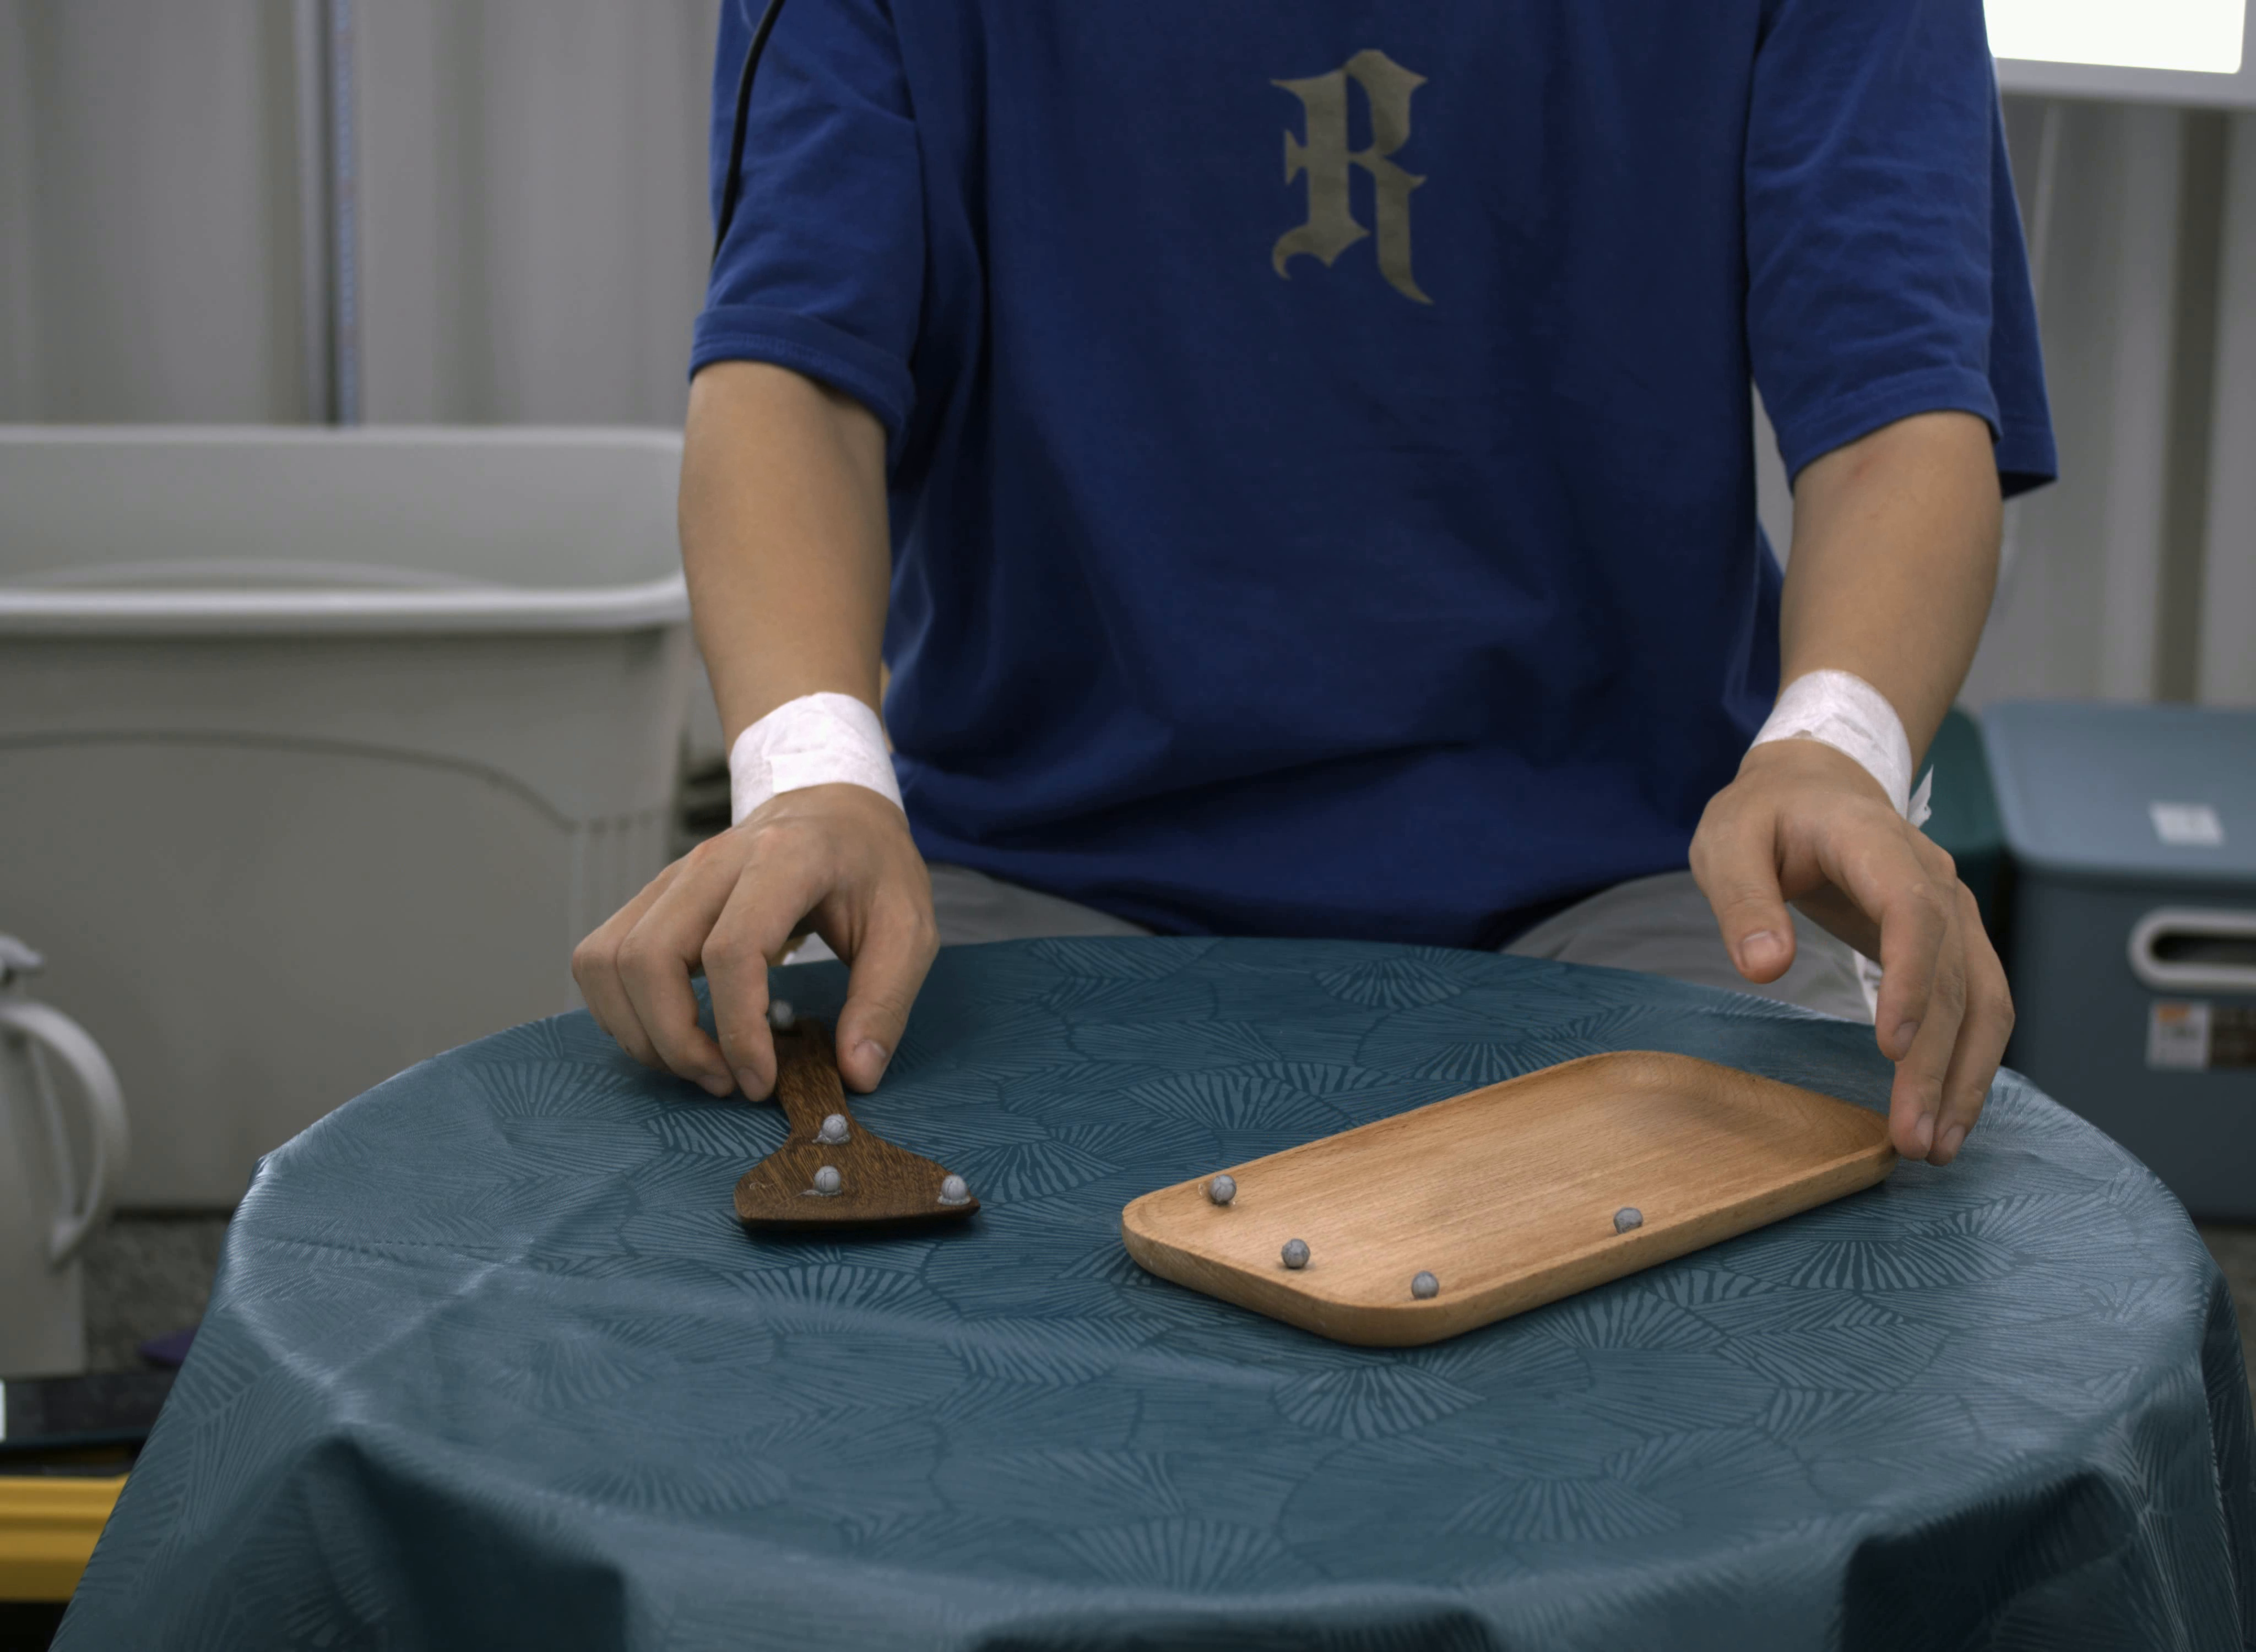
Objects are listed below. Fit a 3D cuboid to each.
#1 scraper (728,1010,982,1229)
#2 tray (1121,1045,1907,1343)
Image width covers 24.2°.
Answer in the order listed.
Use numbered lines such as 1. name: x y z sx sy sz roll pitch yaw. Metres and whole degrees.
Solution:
1. scraper: -0.098 0.092 1.669 0.076 0.011 0.209 -1 16 -11
2. tray: 0.120 0.110 1.603 0.252 0.023 0.129 -13 23 -42
